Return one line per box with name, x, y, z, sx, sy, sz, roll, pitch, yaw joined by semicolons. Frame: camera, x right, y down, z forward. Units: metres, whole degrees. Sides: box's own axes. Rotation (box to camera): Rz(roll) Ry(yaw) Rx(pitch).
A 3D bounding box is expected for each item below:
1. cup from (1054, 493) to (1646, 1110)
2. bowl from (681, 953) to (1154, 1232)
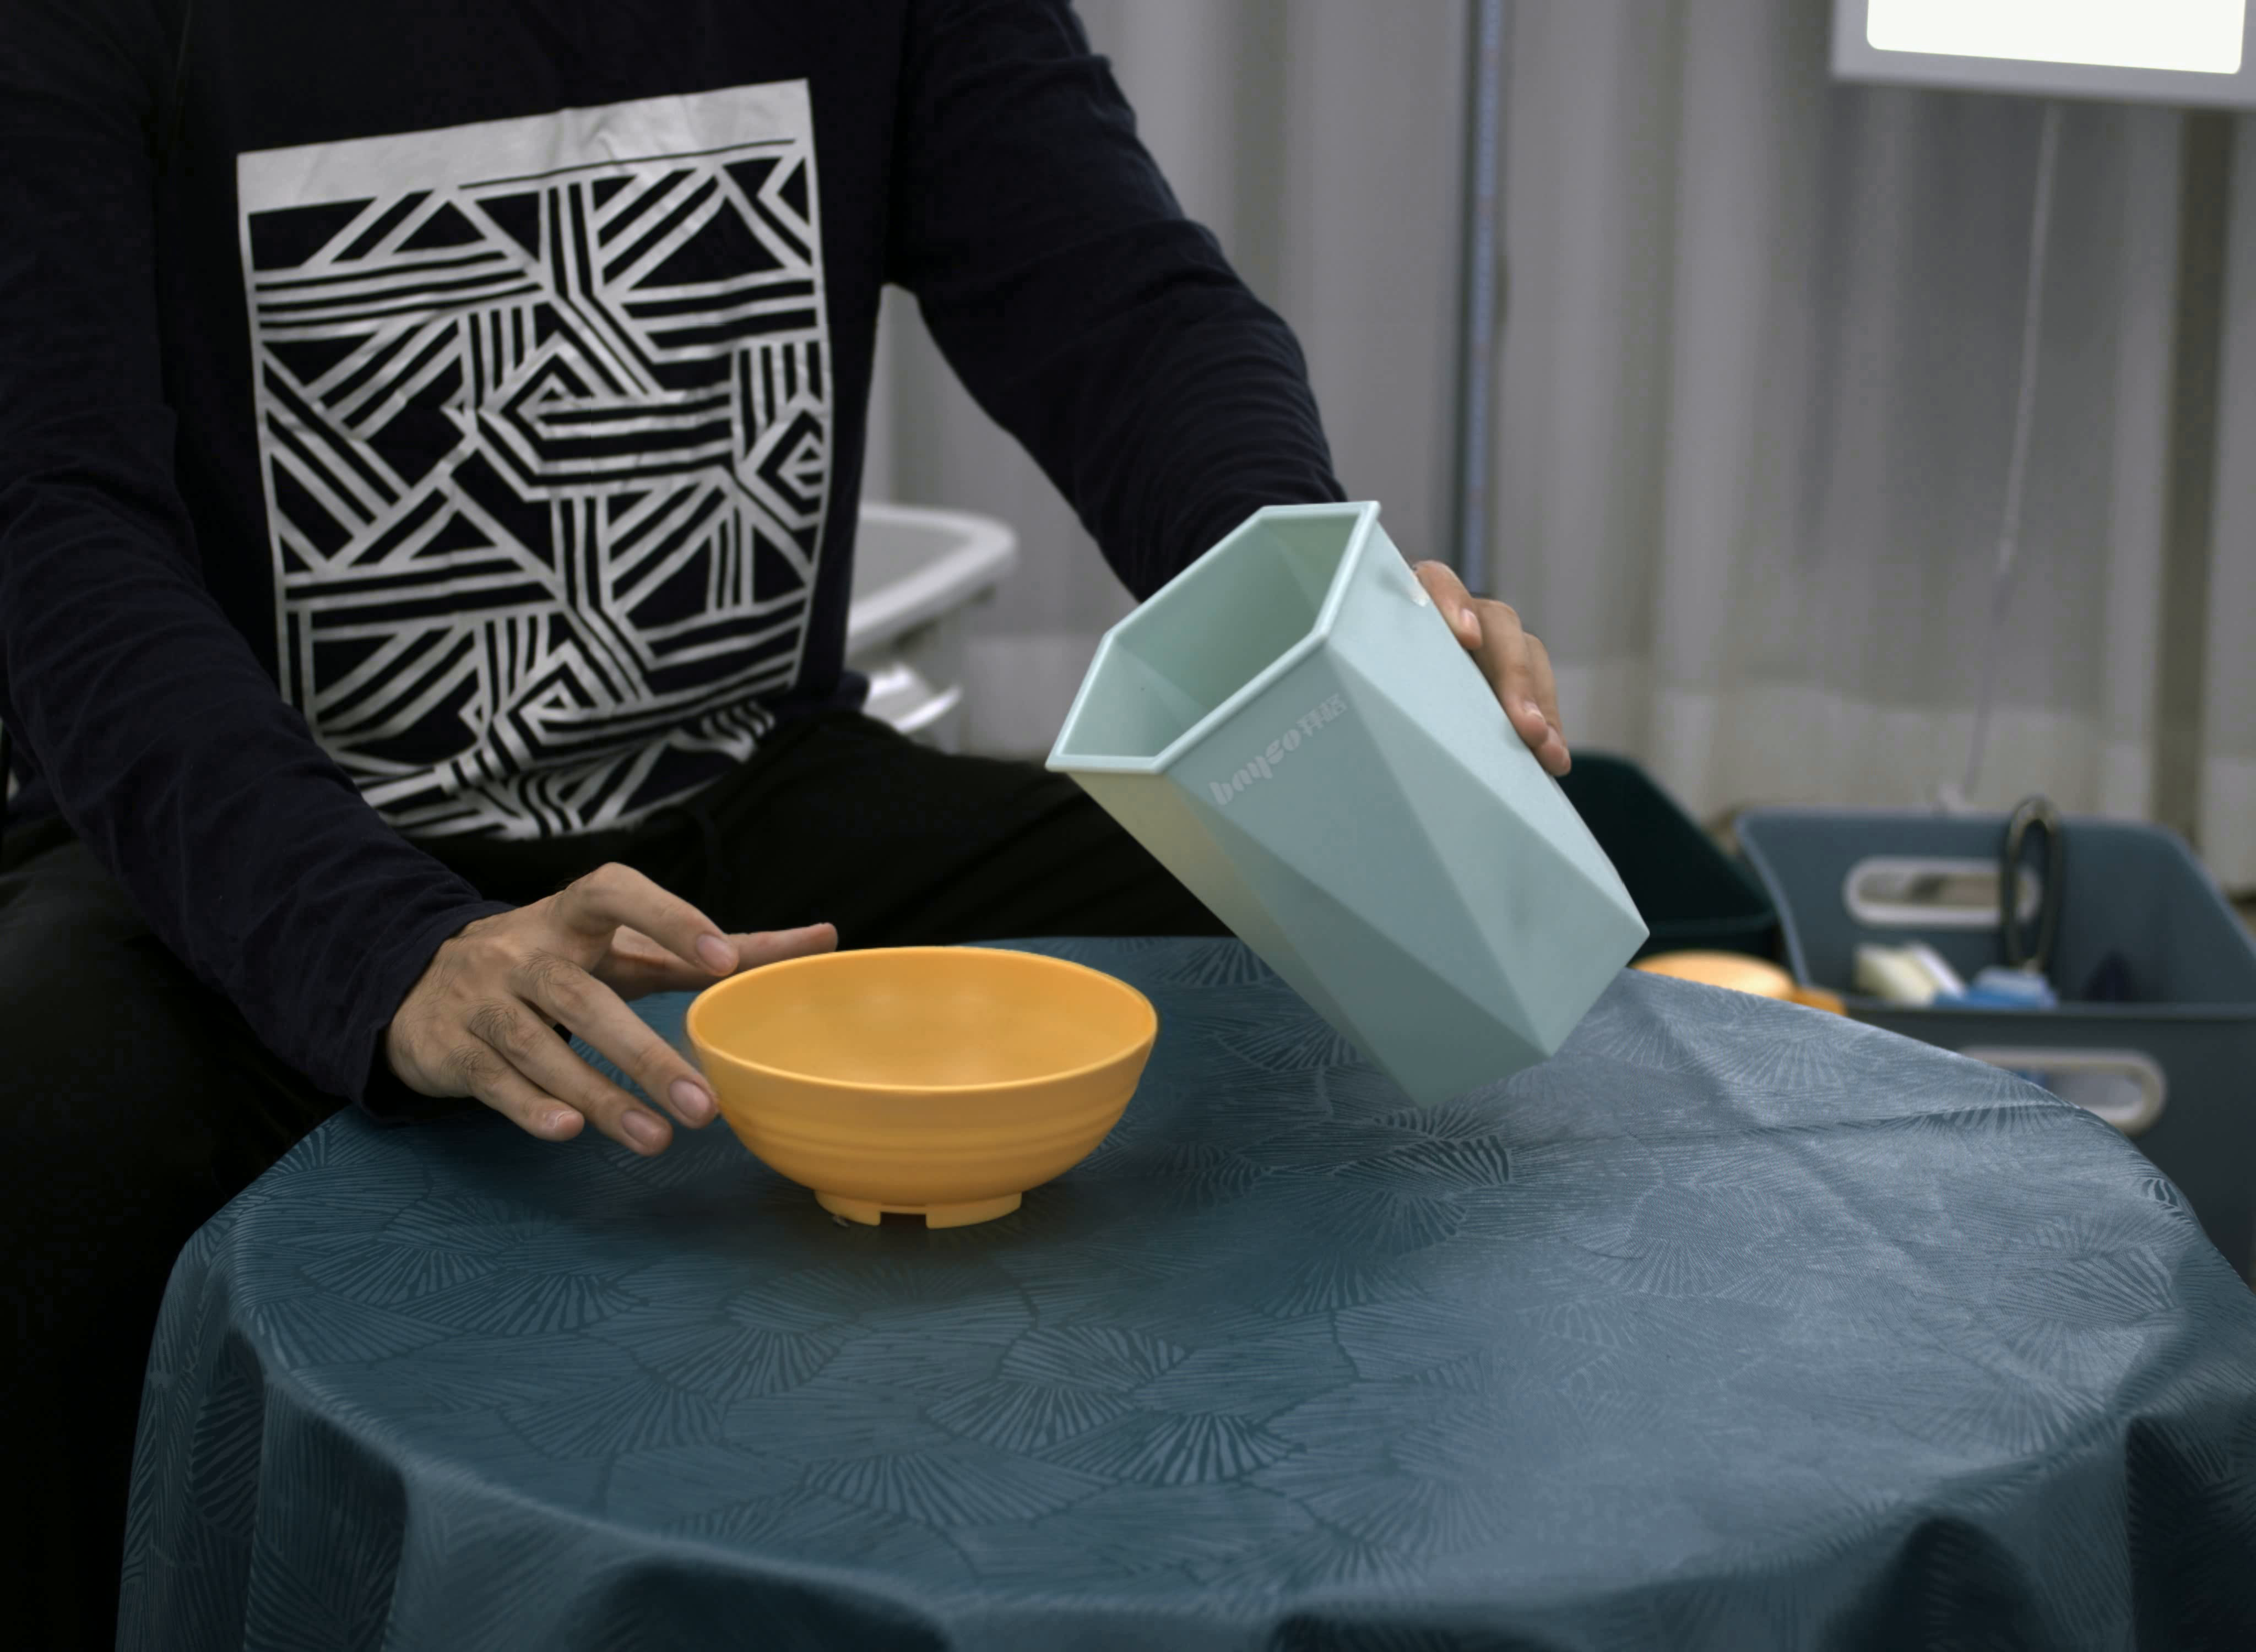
cup;0.076;-0.005;1.638;0.131;0.164;0.114;-38;22;6
bowl;-0.064;0.086;1.613;0.145;0.060;0.144;1;14;0
